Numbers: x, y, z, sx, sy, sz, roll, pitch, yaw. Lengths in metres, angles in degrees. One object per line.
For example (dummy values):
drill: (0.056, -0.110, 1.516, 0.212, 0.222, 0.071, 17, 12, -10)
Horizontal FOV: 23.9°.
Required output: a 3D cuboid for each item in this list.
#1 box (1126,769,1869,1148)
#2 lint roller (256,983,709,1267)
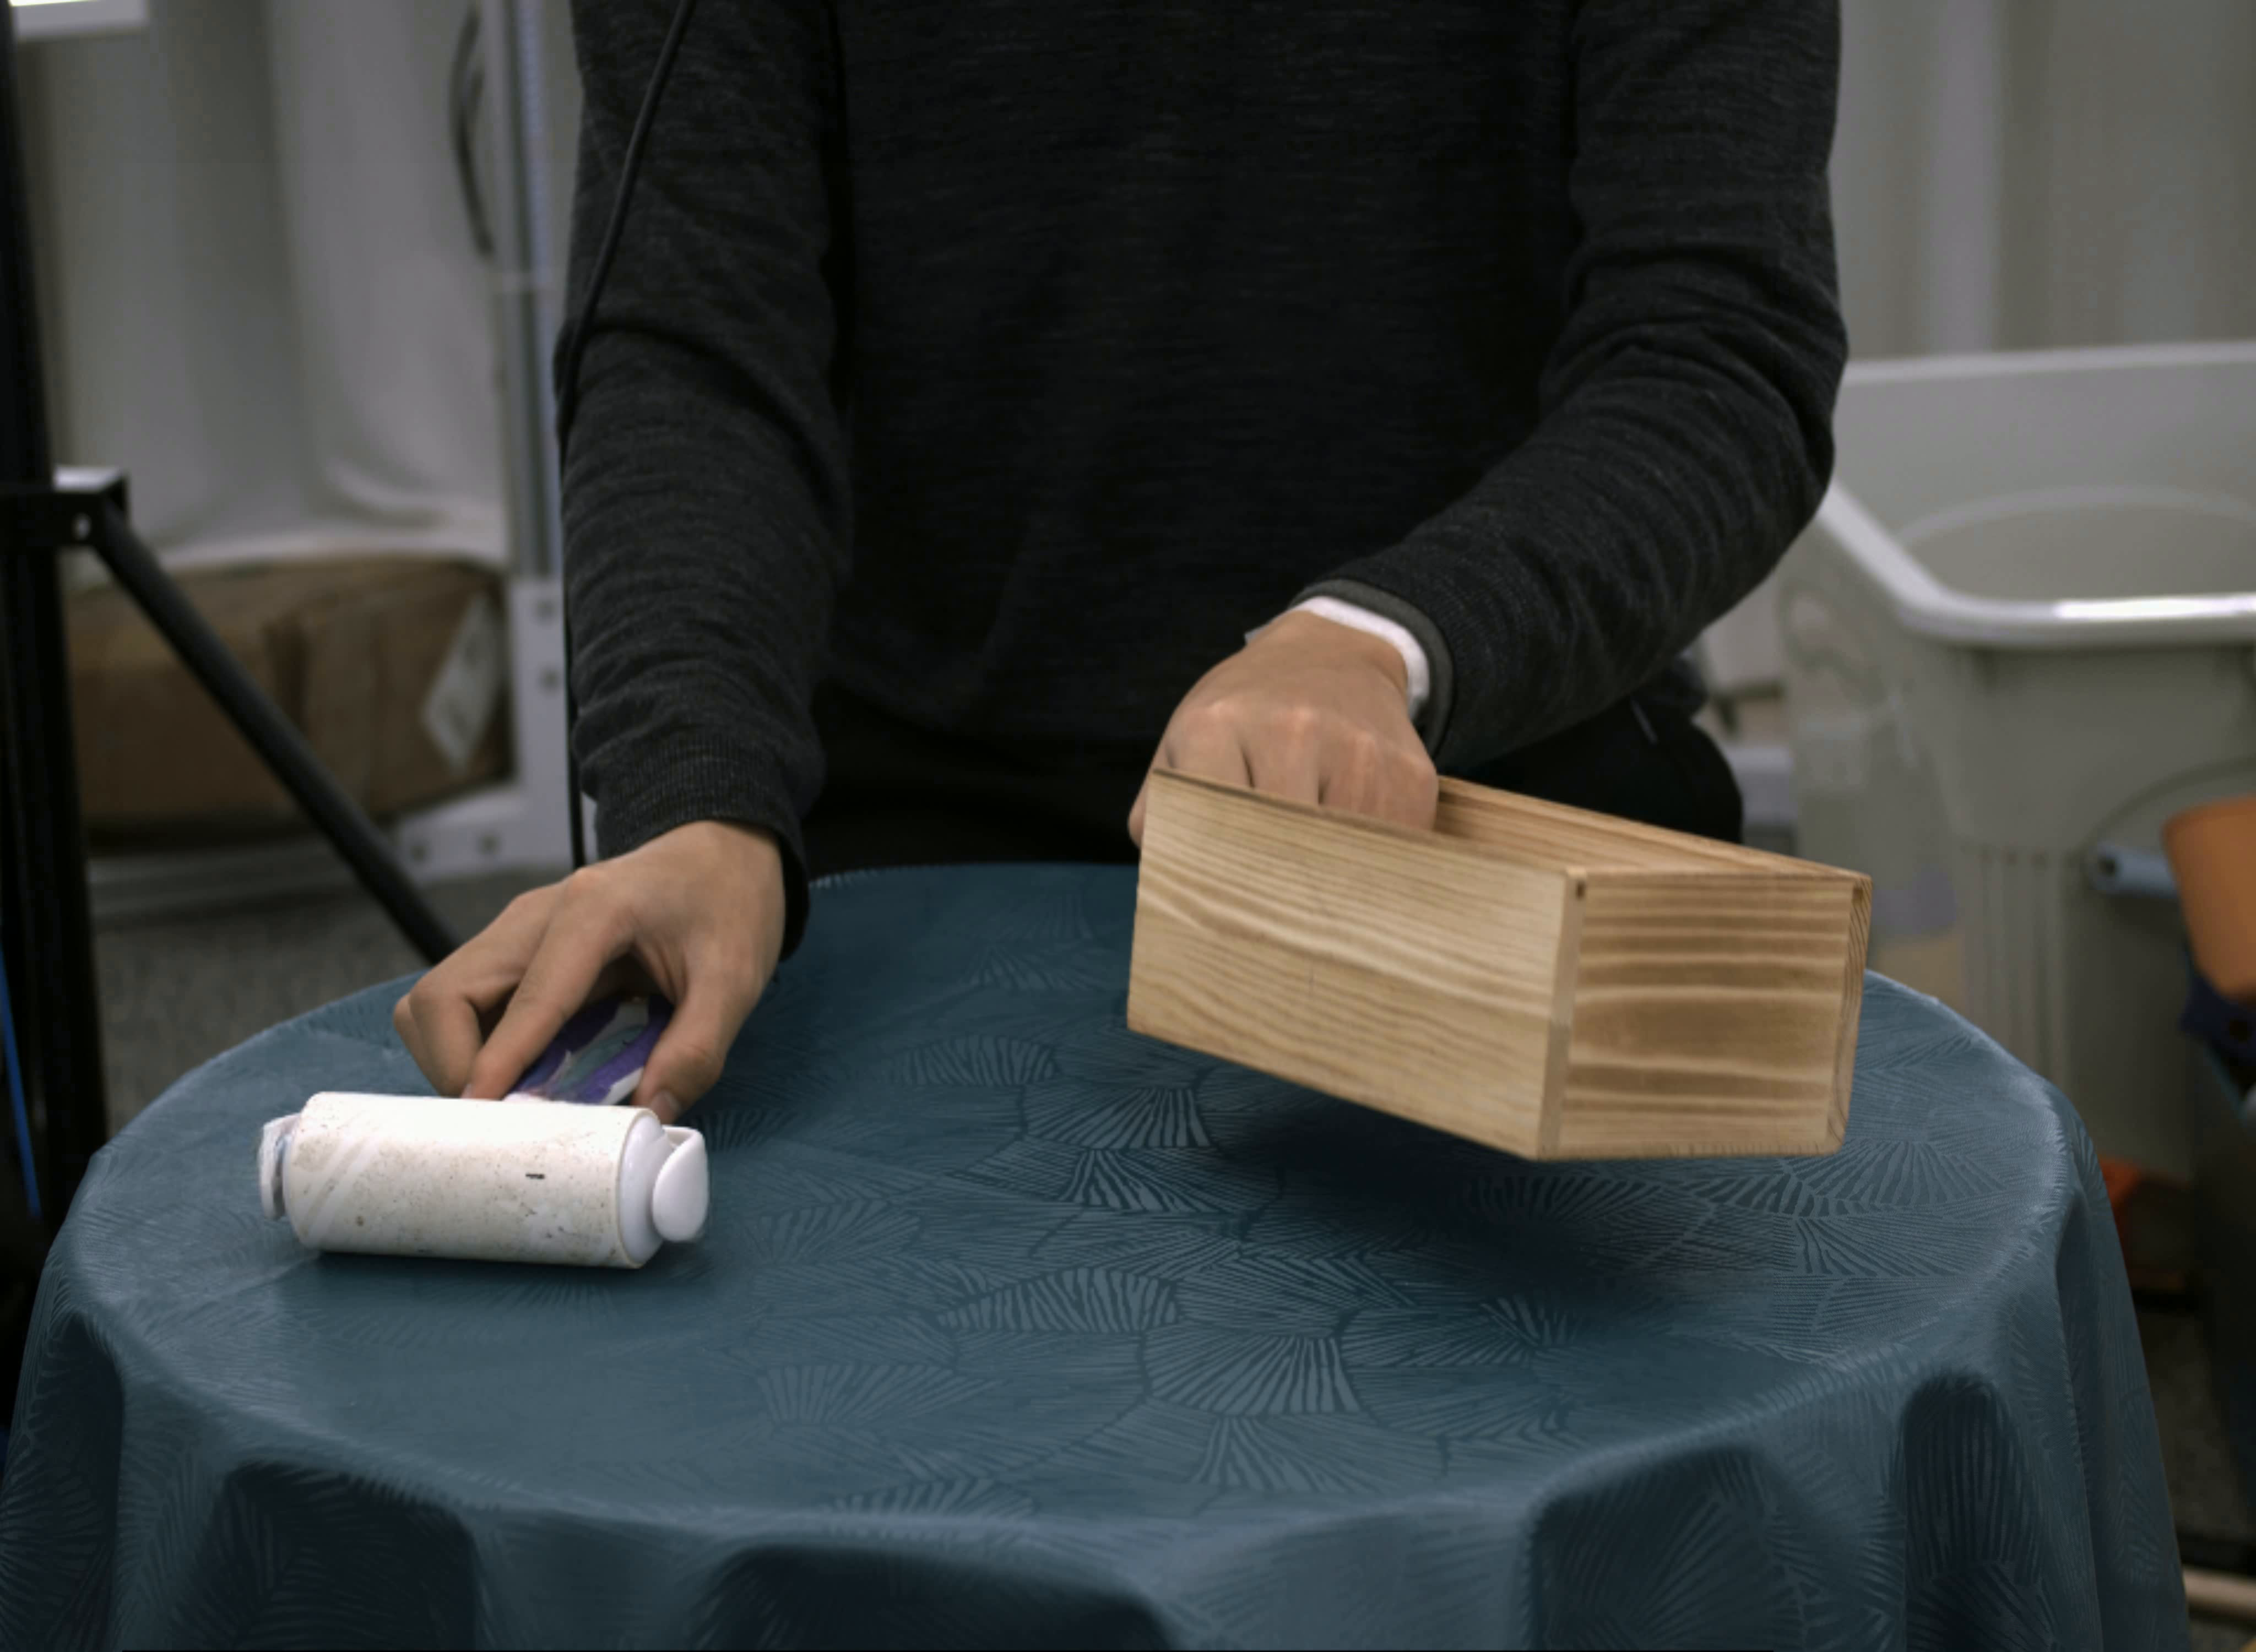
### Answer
box: (0.101, 0.035, 1.516, 0.105, 0.080, 0.216, 2, 6, -31)
lint roller: (-0.169, 0.074, 1.584, 0.134, 0.050, 0.180, 1, 26, 17)
